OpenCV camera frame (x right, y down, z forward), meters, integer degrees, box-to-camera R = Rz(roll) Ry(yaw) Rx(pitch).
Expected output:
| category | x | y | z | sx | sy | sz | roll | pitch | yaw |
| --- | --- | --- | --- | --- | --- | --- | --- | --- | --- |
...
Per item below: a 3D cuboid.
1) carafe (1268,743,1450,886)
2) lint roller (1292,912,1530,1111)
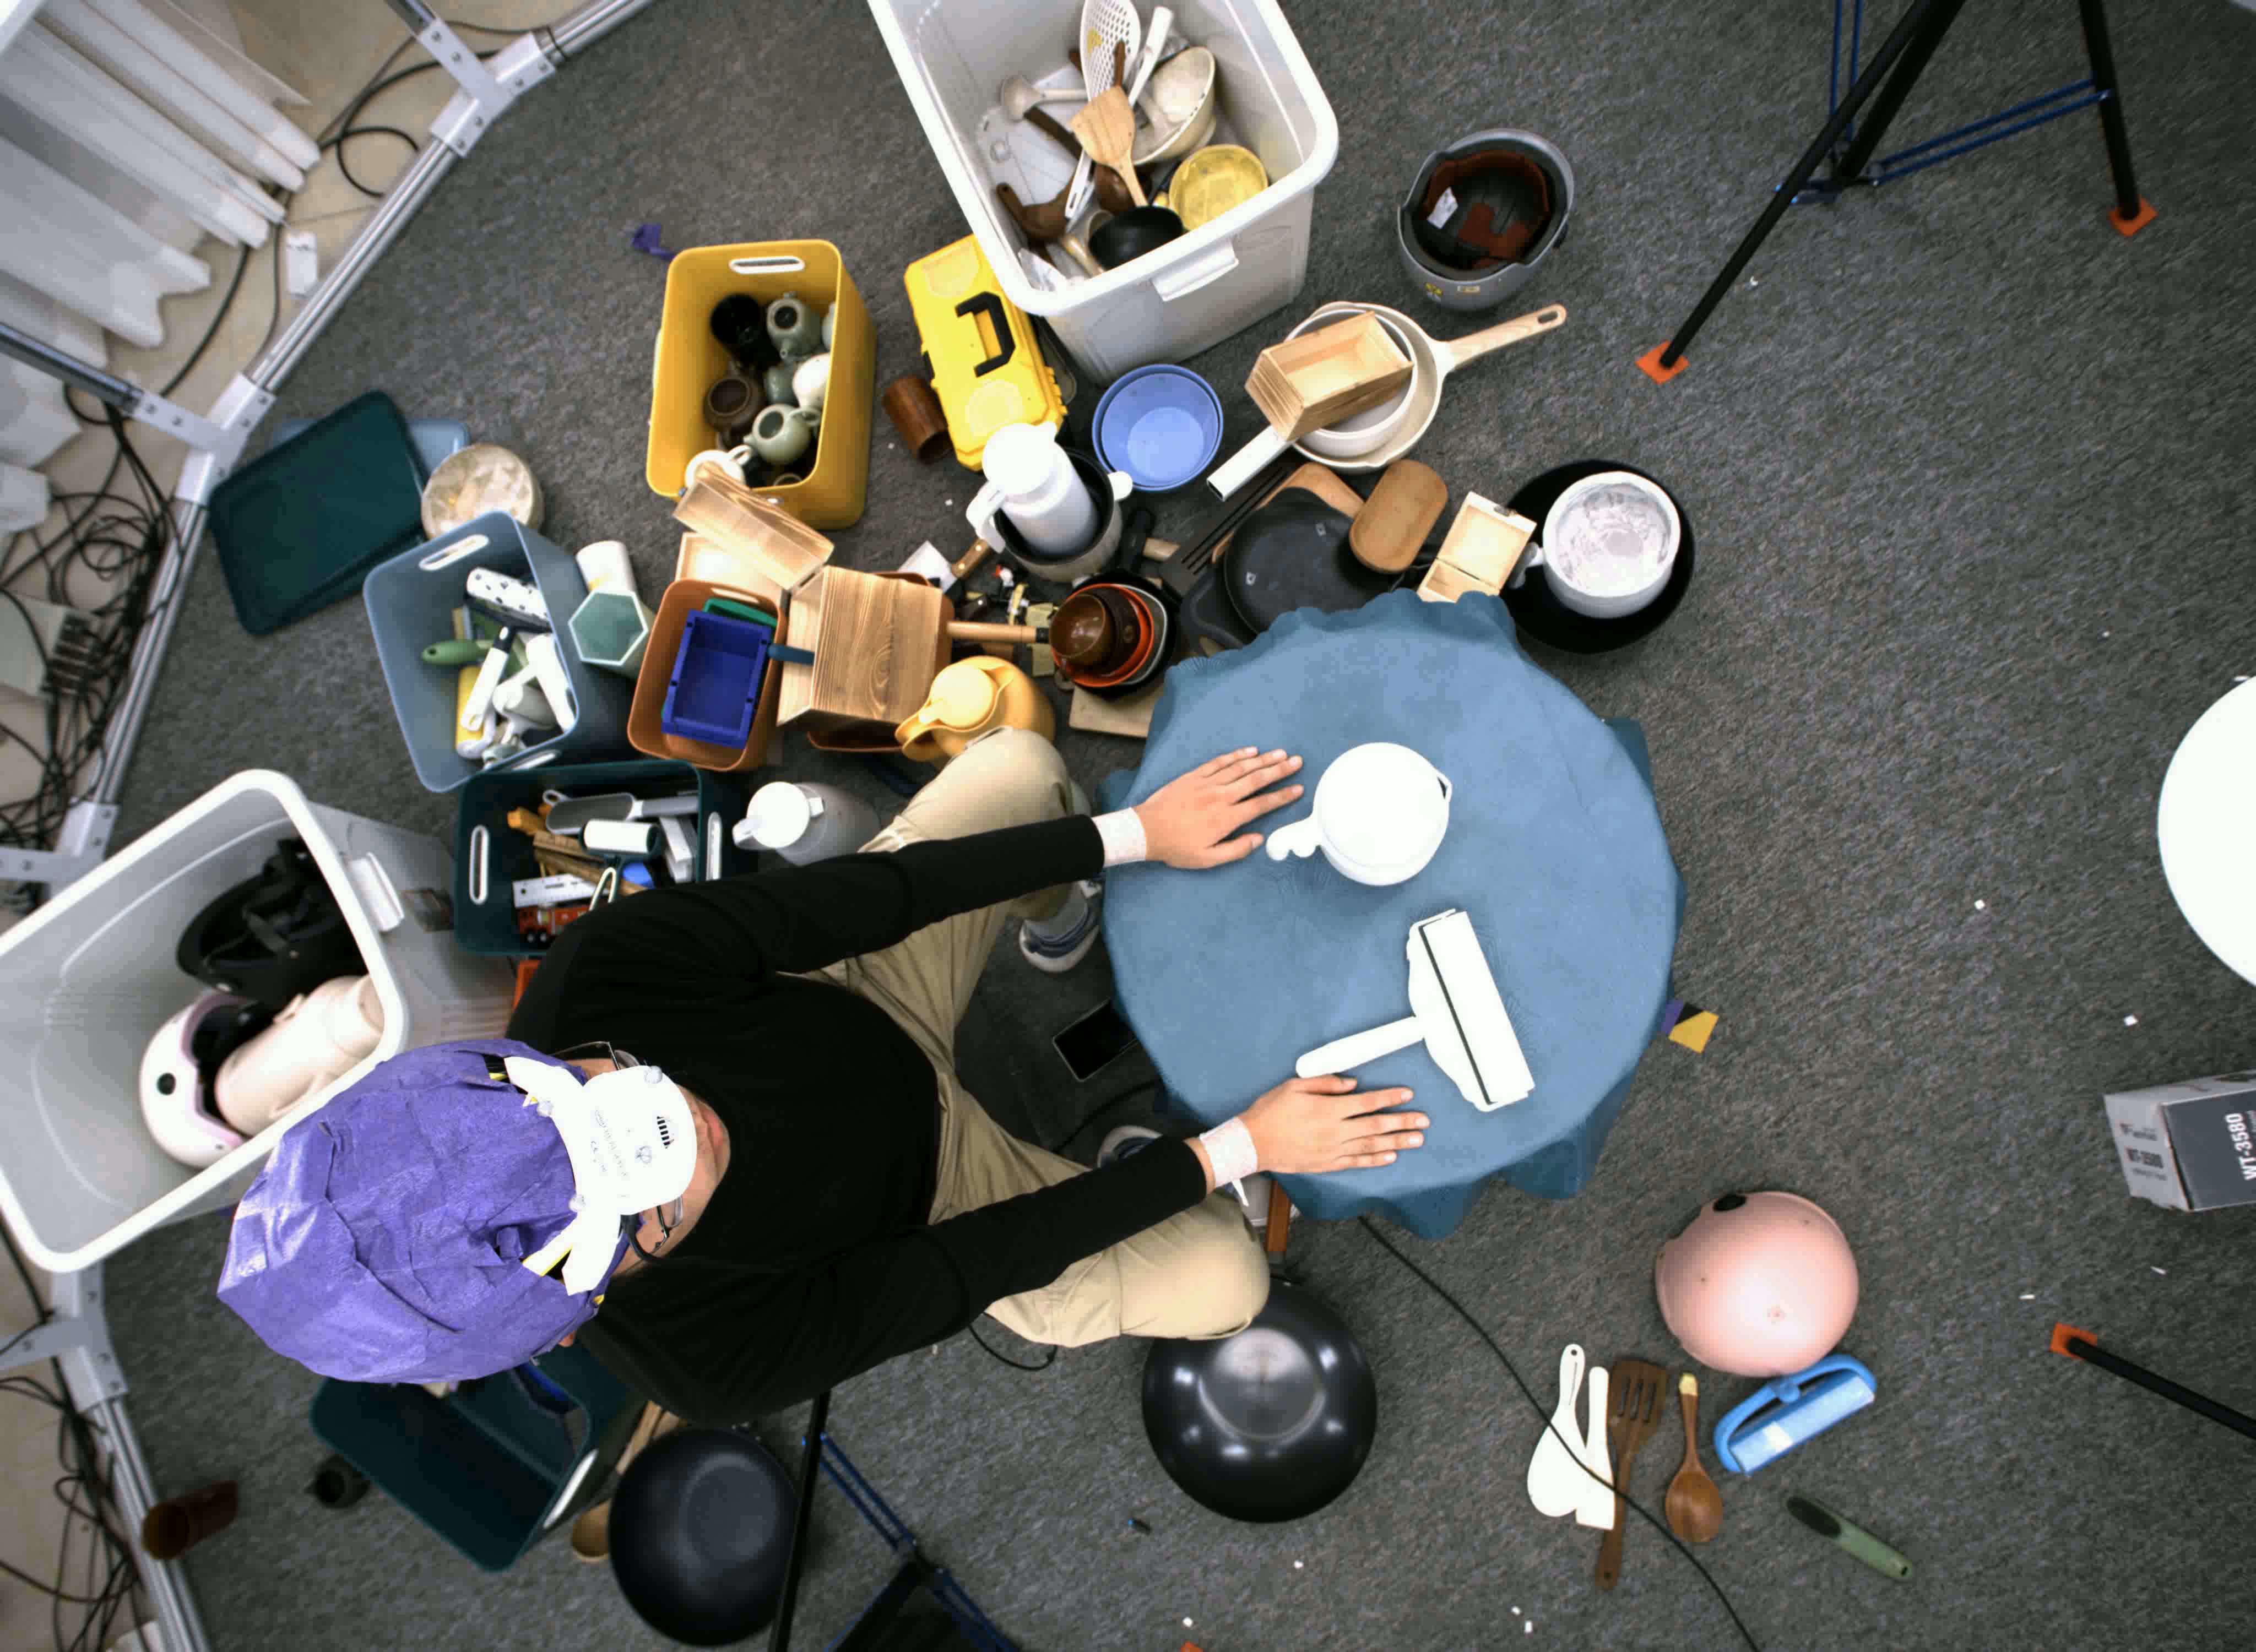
| category | x | y | z | sx | sy | sz | roll | pitch | yaw |
| --- | --- | --- | --- | --- | --- | --- | --- | --- | --- |
| carafe | 0.230 | -0.003 | 1.385 | 0.192 | 0.182 | 0.131 | -20 | 81 | 10 |
| lint roller | 0.275 | 0.216 | 1.429 | 0.227 | 0.048 | 0.201 | -22 | 84 | 10 |
